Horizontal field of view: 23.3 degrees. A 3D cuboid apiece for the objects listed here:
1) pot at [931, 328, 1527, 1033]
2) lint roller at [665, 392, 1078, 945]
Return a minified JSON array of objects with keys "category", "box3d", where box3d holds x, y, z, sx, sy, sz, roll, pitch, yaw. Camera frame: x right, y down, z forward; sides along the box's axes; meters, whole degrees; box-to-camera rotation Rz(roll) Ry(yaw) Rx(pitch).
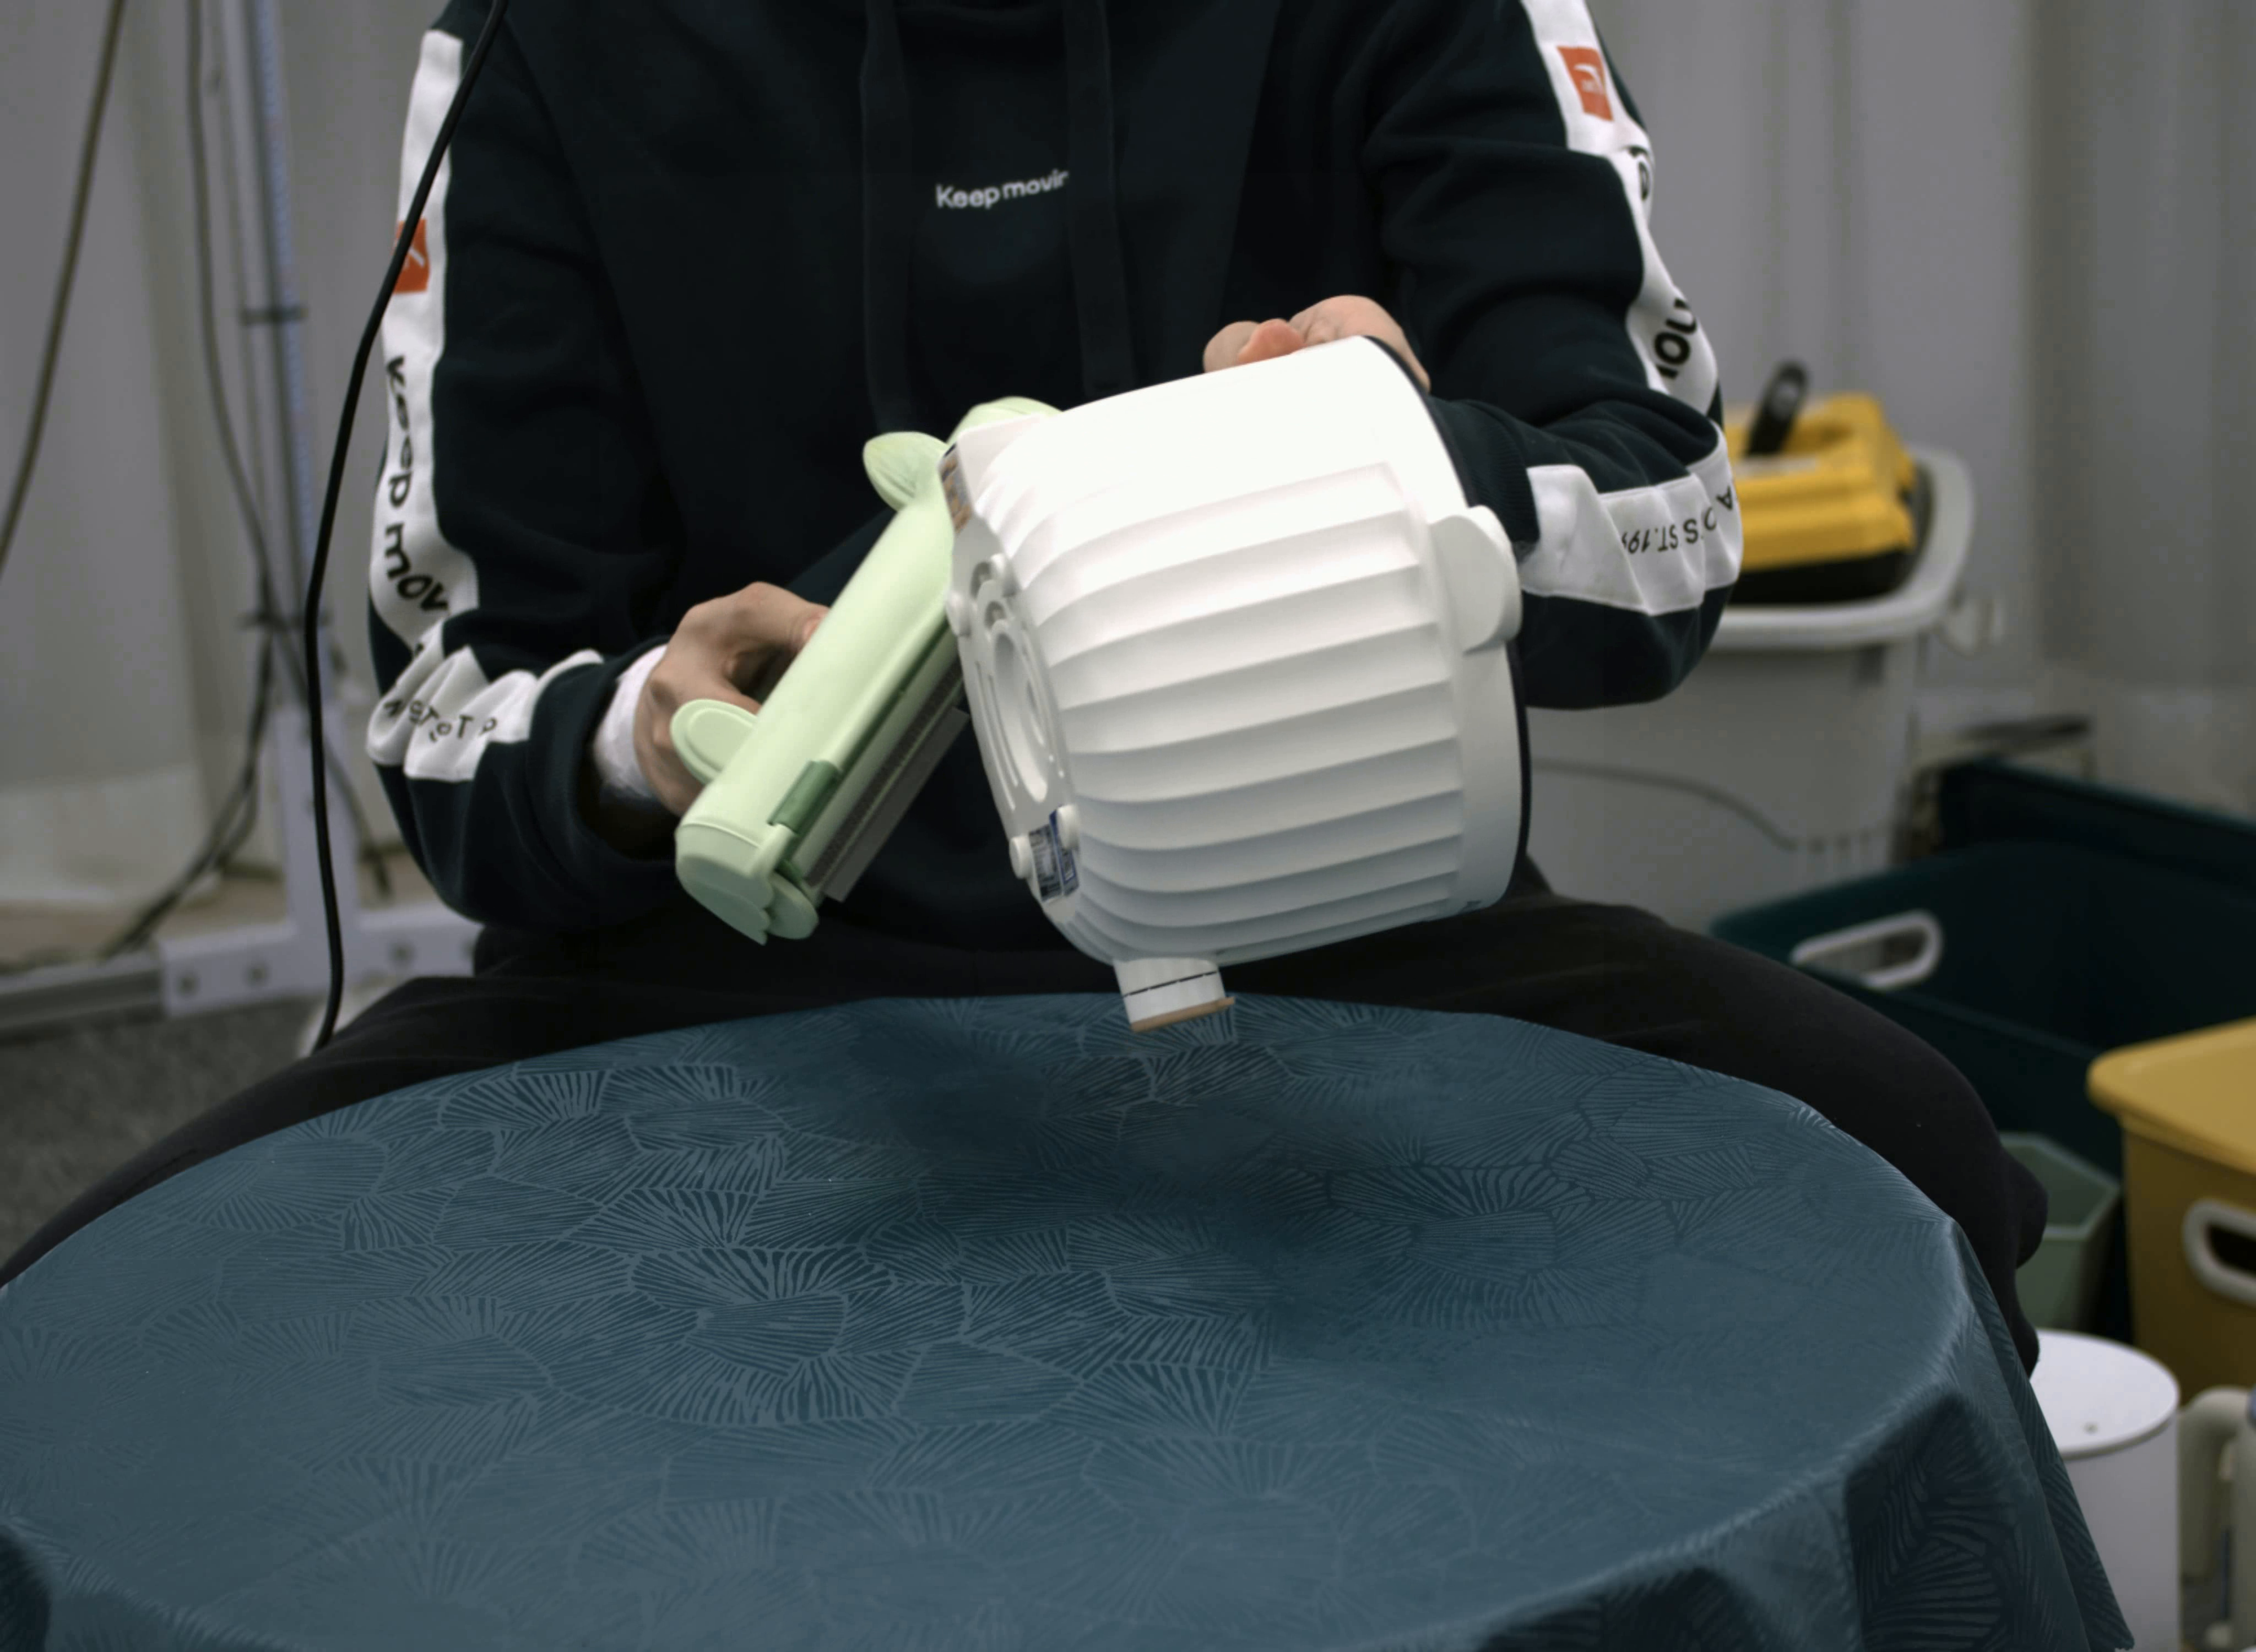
[{"category":"pot","box3d":[0.028,-0.043,1.673,0.142,0.191,0.240,-17,-4,-12]},{"category":"lint roller","box3d":[-0.109,-0.052,1.804,0.183,0.081,0.200,-9,44,58]}]
